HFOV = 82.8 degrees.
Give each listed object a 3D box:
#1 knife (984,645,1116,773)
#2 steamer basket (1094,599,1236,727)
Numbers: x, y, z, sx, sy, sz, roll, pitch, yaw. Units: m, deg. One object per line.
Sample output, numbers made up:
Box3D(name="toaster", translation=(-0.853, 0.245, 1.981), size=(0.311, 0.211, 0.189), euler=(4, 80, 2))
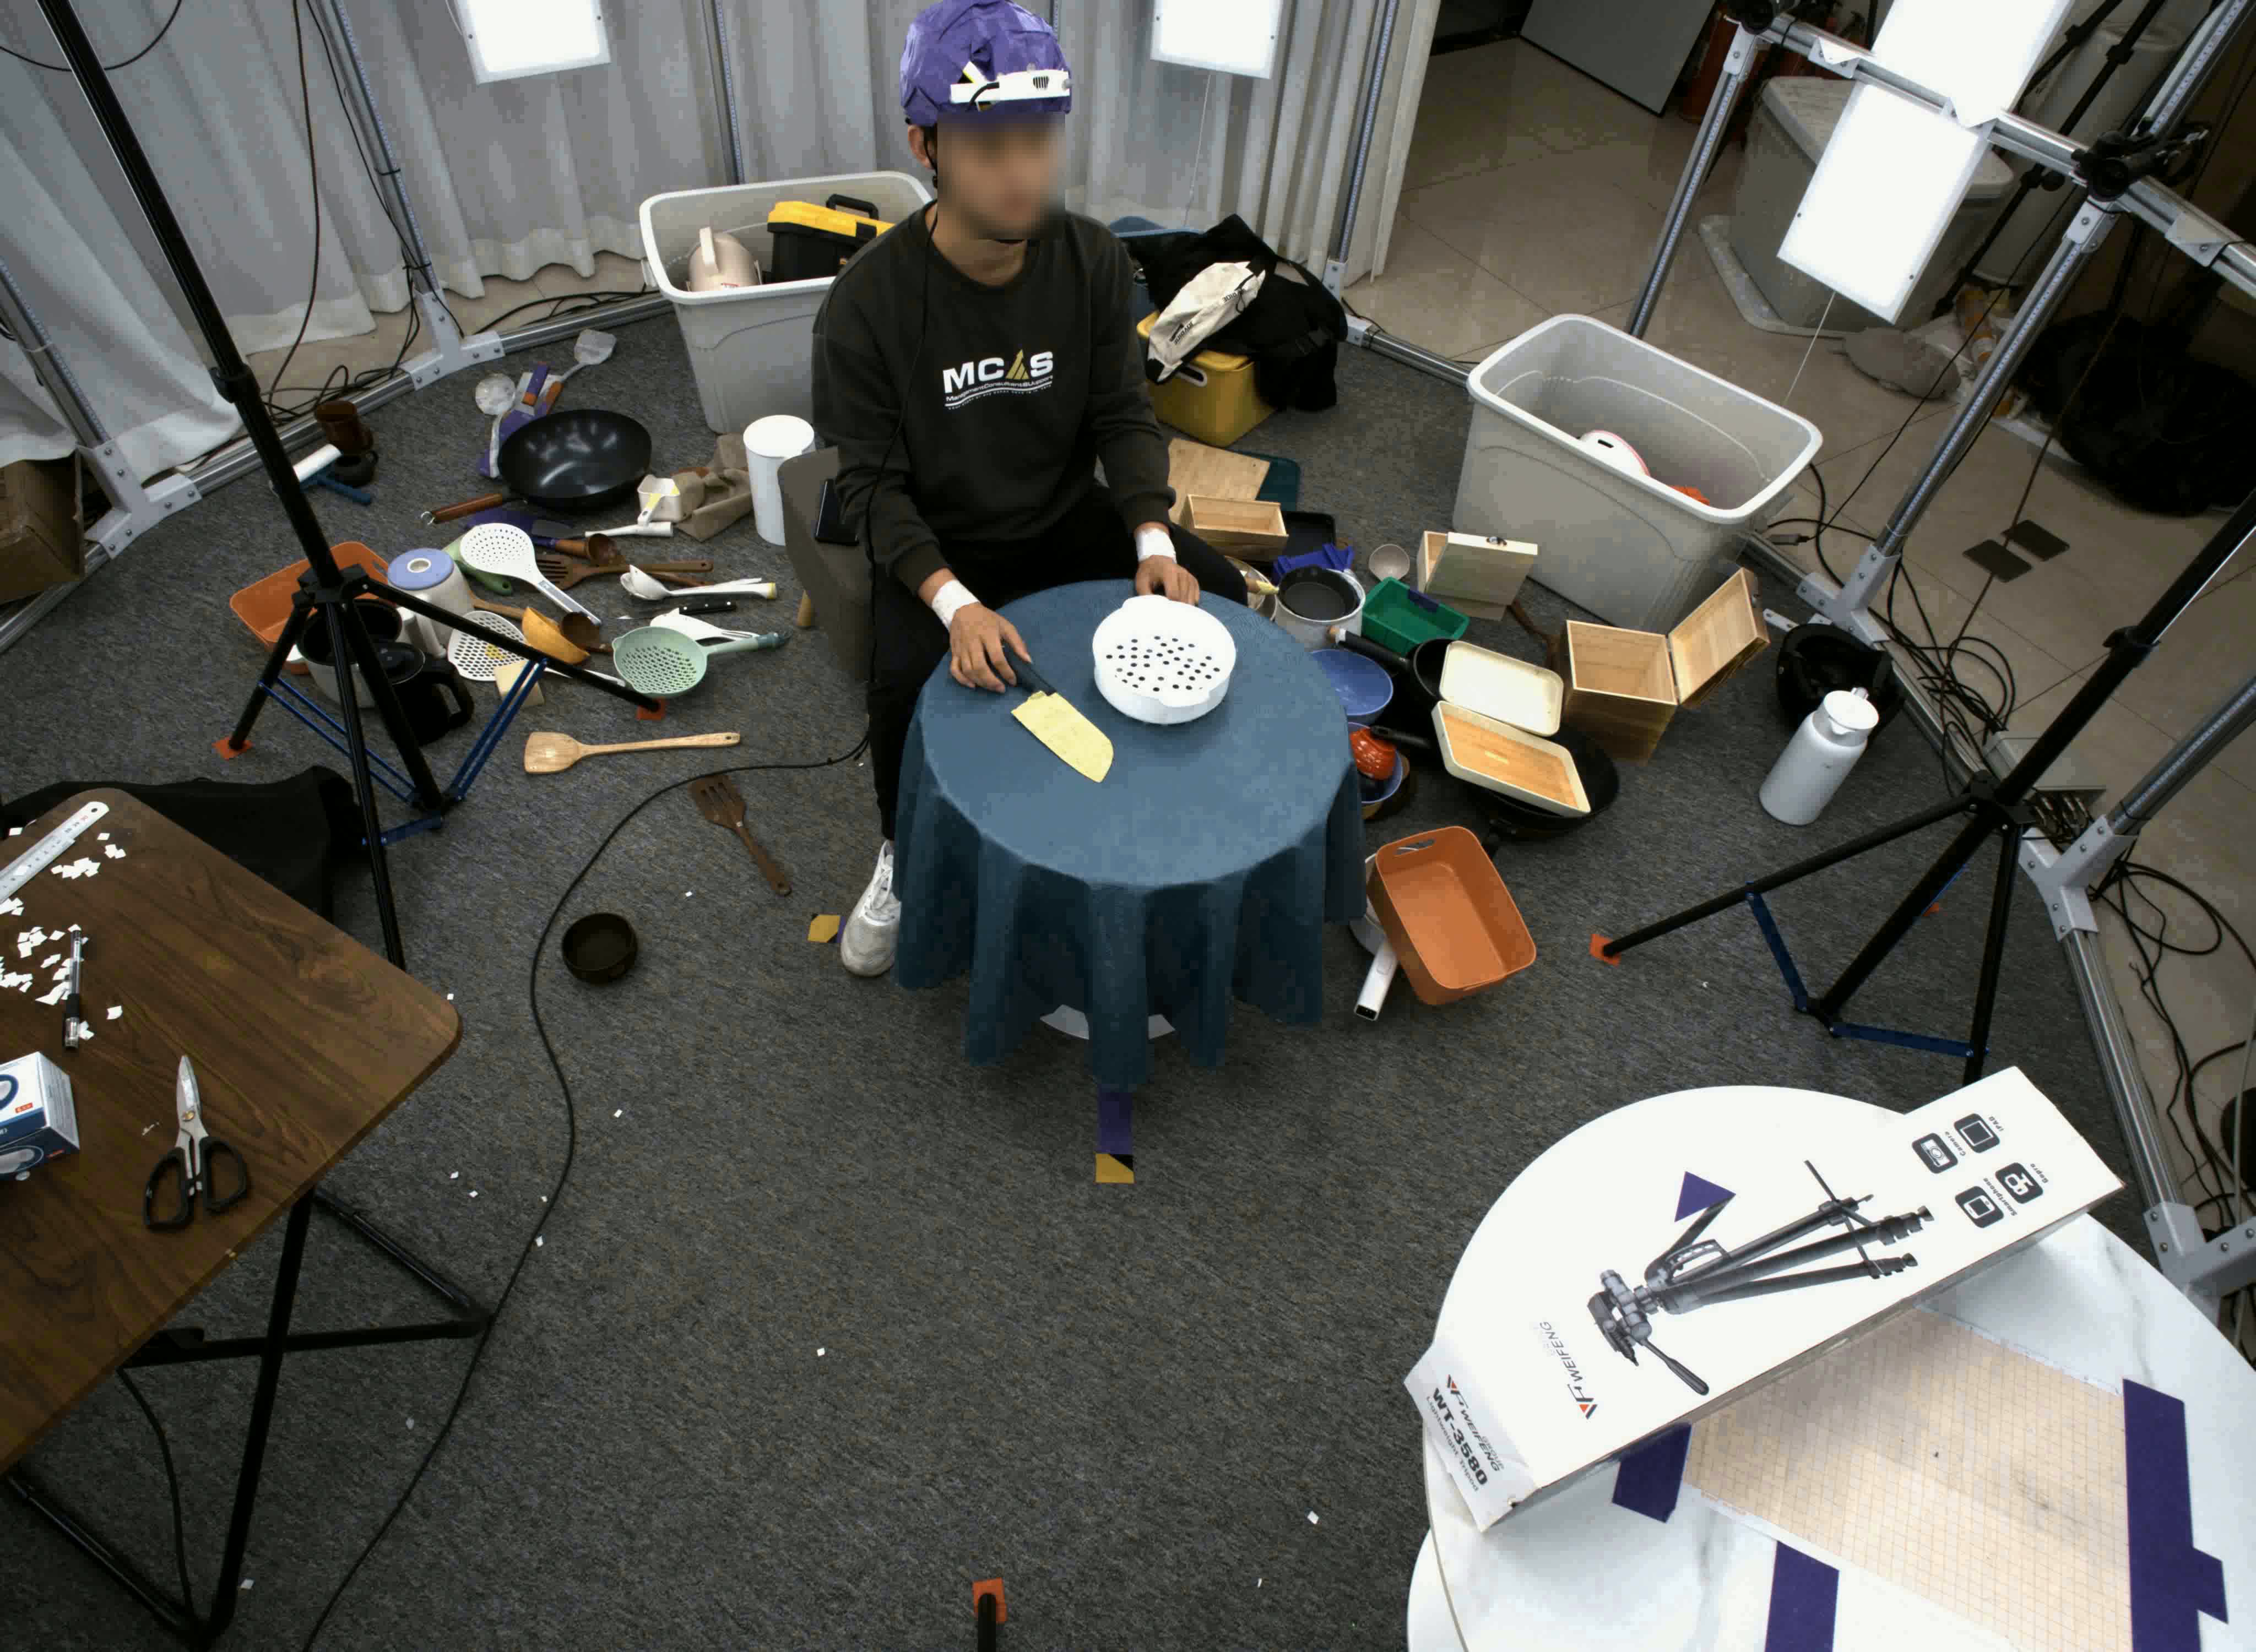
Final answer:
Box3D(name="knife", translation=(-0.118, -0.163, 1.791), size=(0.081, 0.026, 0.294), euler=(-31, 58, -24))
Box3D(name="steamer basket", translation=(0.050, -0.229, 1.826), size=(0.202, 0.067, 0.236), euler=(-8, 49, -12))
